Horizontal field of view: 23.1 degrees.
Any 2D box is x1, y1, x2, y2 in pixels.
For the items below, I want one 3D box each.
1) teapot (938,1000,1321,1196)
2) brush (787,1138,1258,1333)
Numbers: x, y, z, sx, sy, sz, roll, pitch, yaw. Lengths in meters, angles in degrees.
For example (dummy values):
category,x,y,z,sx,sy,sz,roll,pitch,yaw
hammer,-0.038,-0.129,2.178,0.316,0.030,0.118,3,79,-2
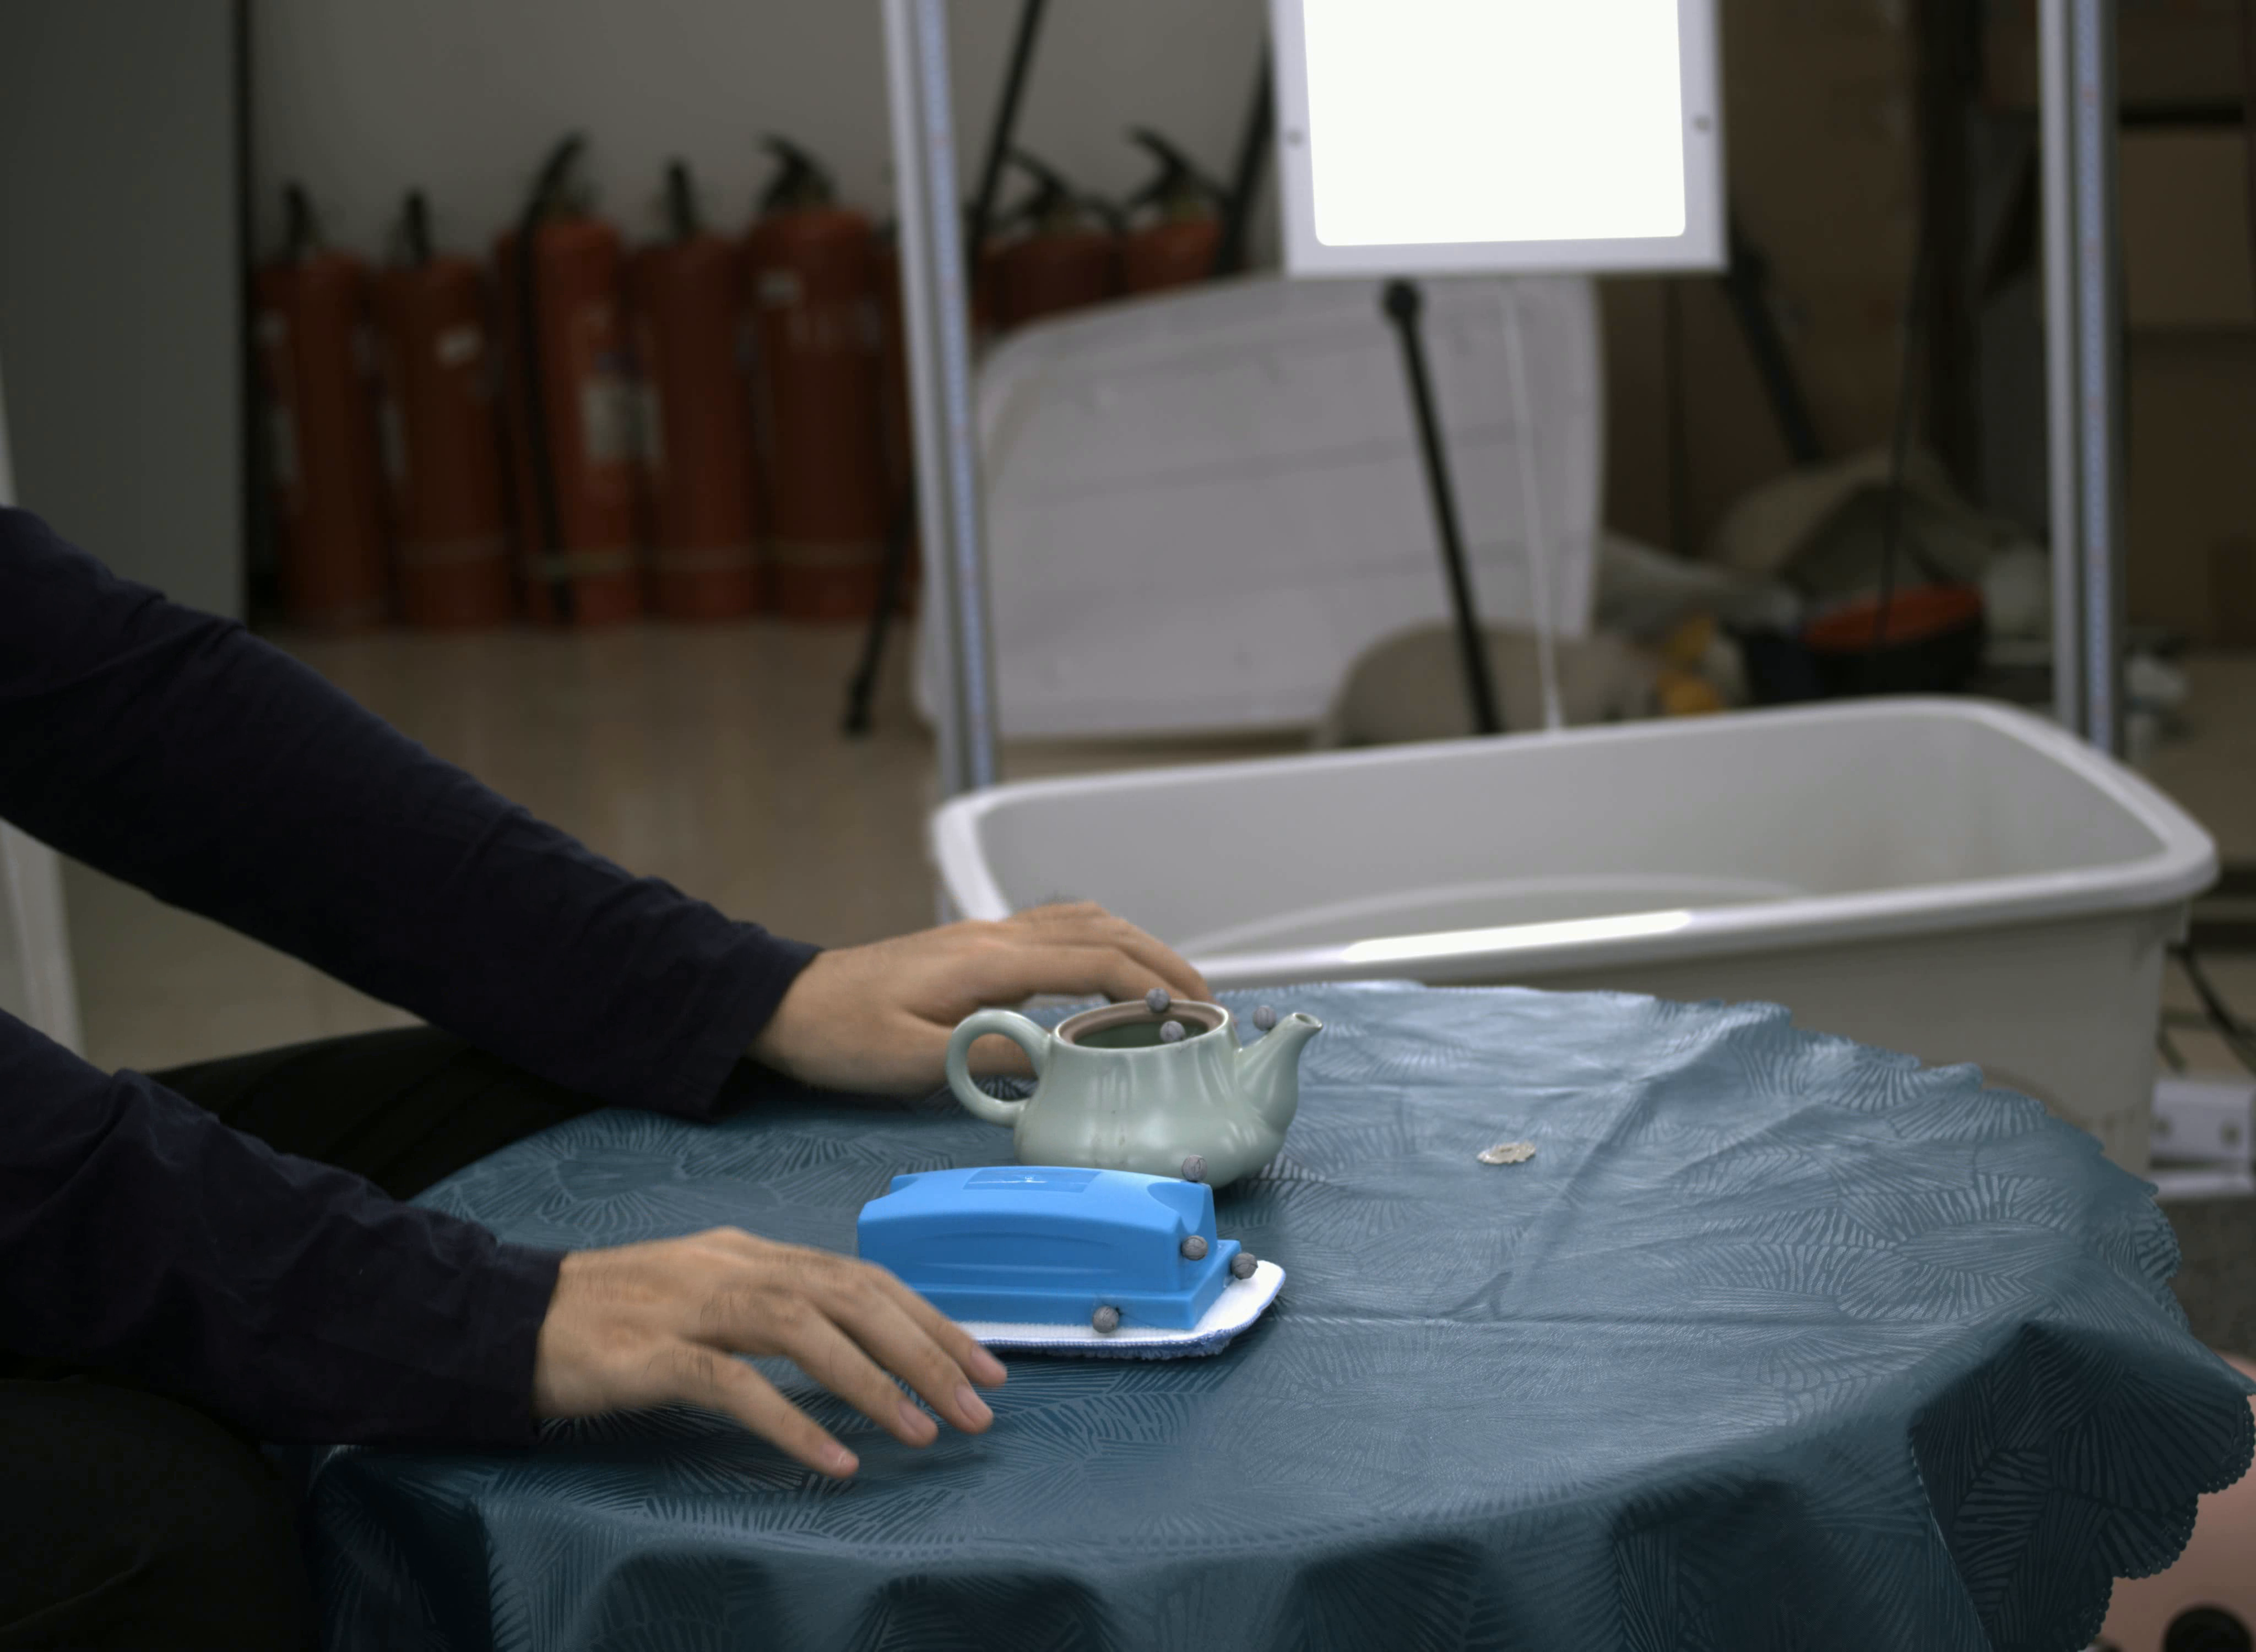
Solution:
category,x,y,z,sx,sy,sz,roll,pitch,yaw
teapot,0.002,0.095,1.904,0.138,0.061,0.095,-1,15,16
brush,-0.033,0.131,1.764,0.146,0.056,0.082,3,13,22
